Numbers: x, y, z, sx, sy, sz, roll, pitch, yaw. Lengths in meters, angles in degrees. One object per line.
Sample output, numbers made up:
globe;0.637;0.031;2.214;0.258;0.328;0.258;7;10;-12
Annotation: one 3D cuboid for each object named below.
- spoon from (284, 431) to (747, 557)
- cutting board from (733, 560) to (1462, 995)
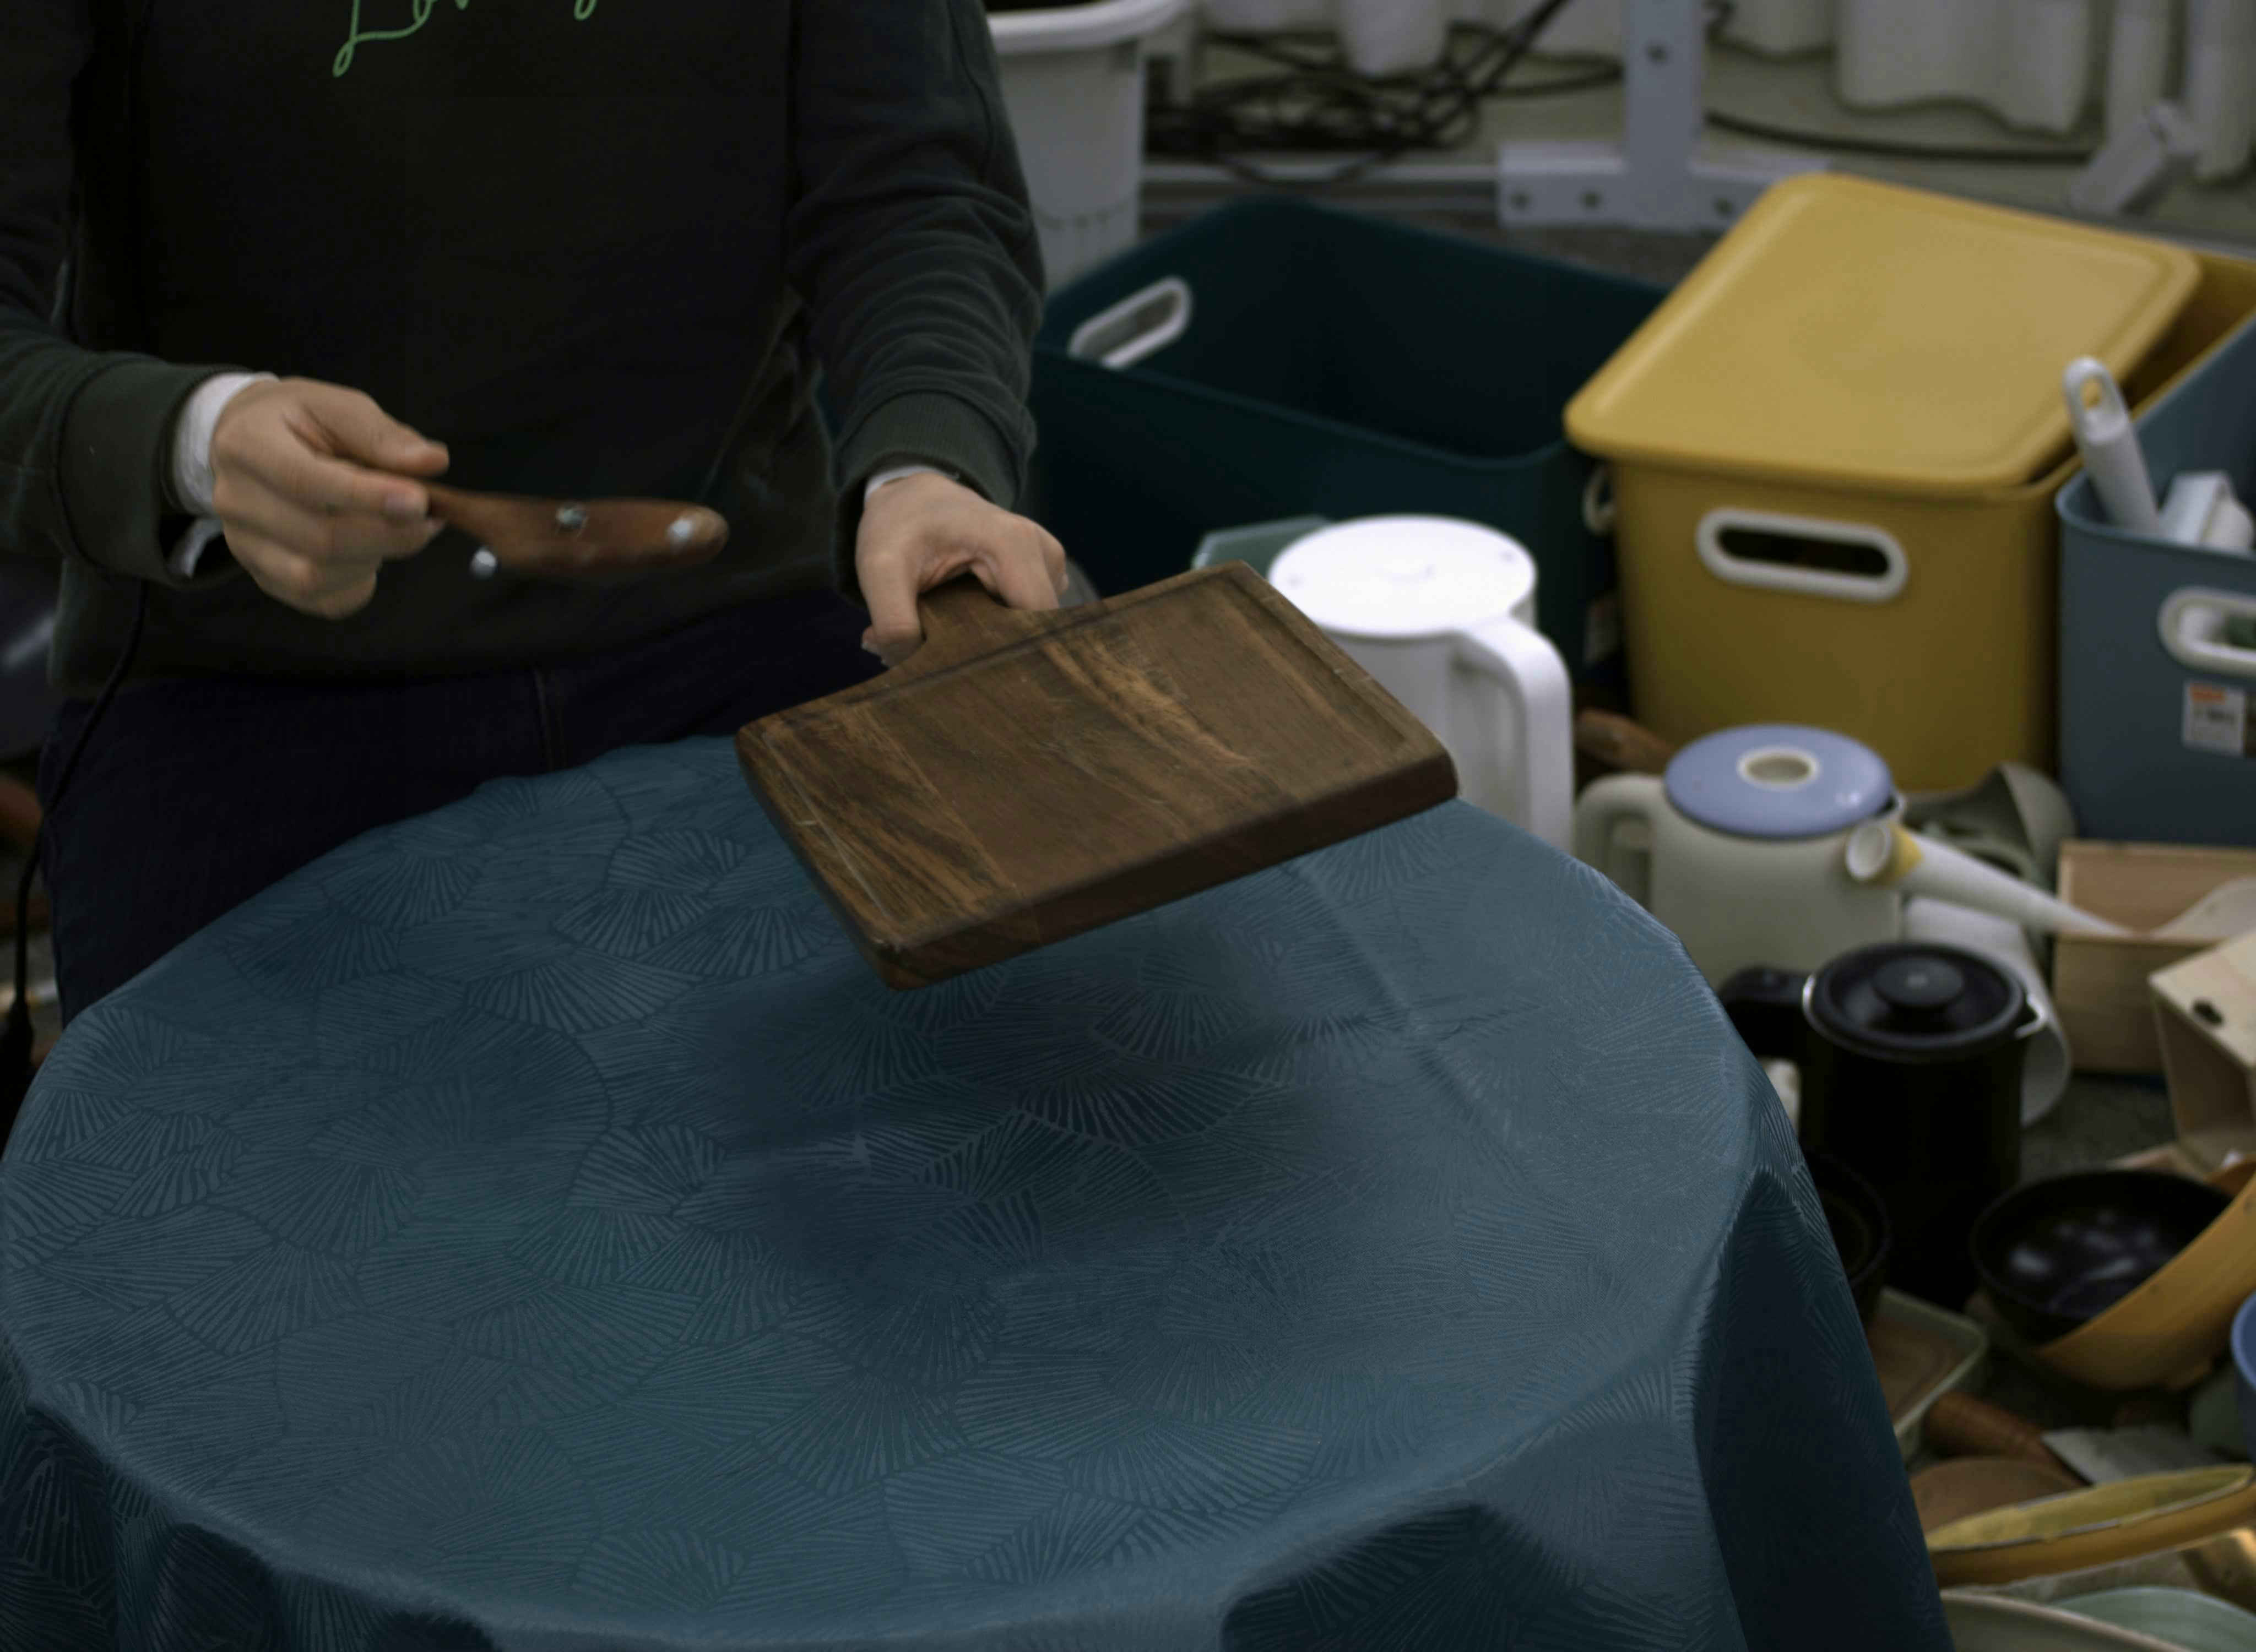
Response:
spoon;-0.207;-0.108;1.842;0.076;0.017;0.215;-16;21;-42
cutting board;-0.028;-0.035;1.929;0.201;0.023;0.354;-20;20;-9
